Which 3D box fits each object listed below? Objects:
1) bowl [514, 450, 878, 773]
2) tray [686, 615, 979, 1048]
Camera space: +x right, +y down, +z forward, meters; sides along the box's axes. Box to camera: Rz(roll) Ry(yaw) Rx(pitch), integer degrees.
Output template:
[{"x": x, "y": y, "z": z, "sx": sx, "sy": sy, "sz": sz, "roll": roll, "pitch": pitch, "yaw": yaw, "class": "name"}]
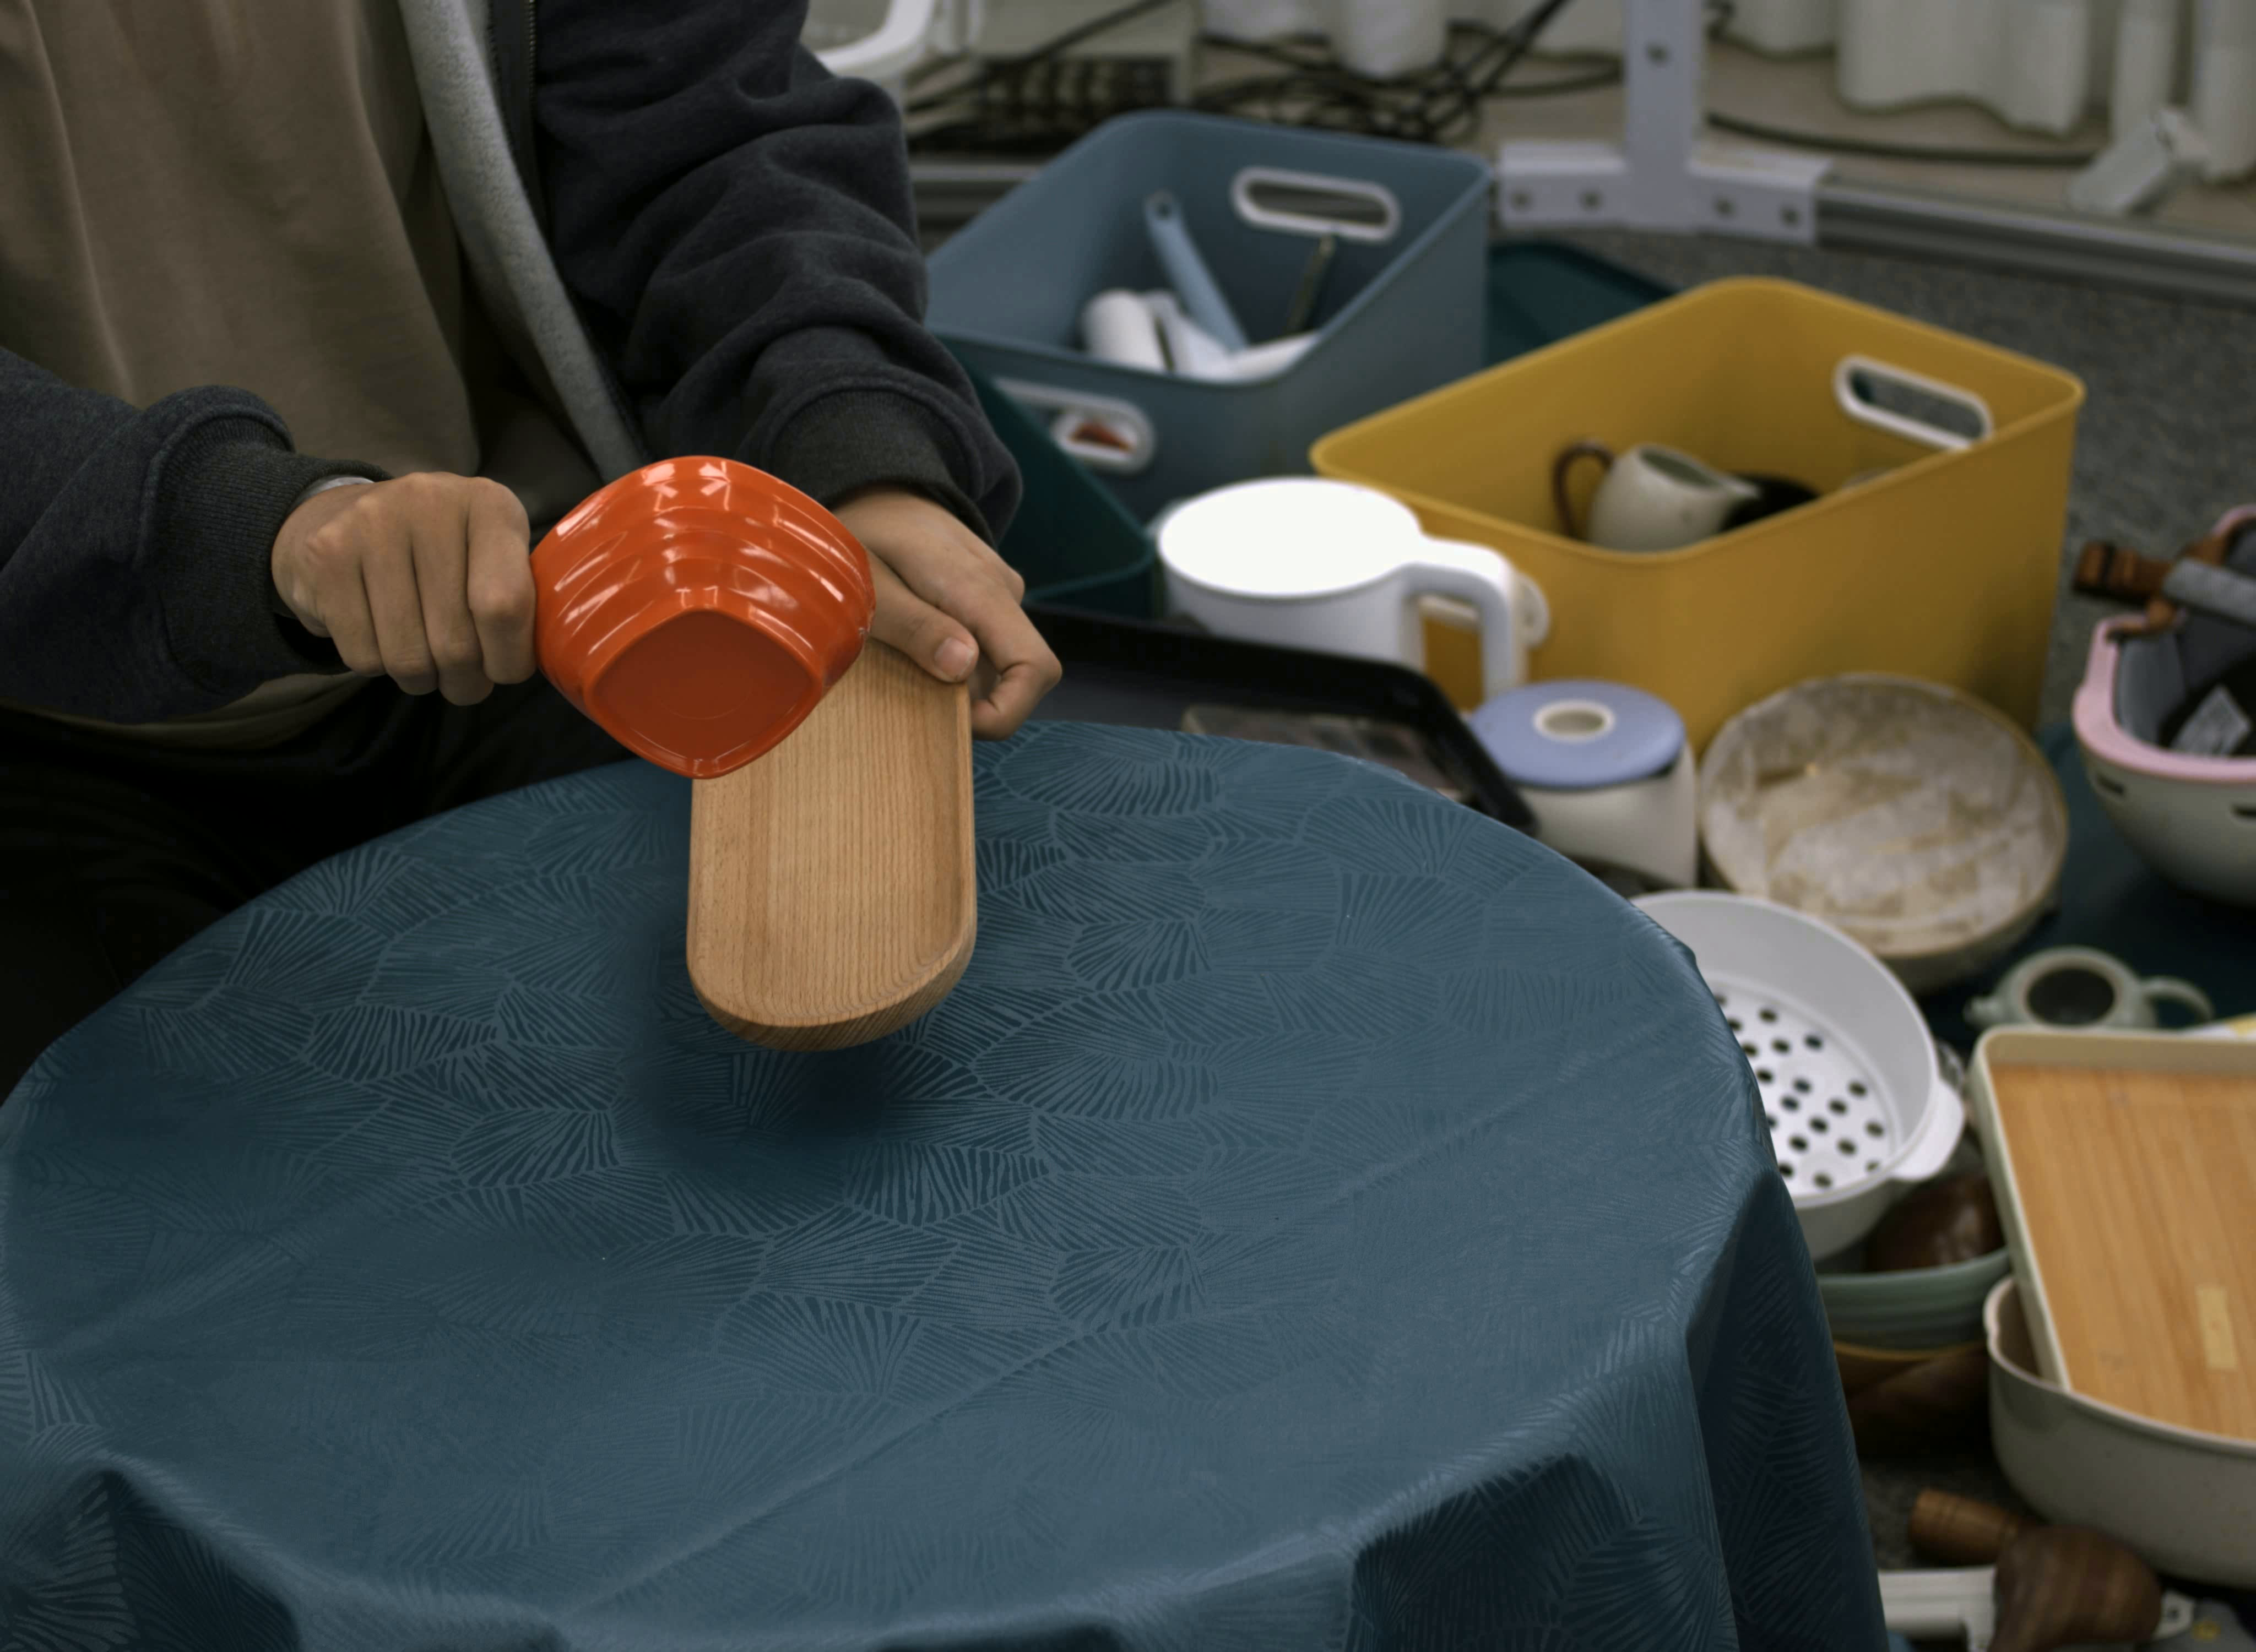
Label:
[{"x": -0.138, "y": -0.061, "z": 1.820, "sx": 0.118, "sy": 0.117, "sz": 0.052, "roll": -5, "pitch": 45, "yaw": -4, "class": "bowl"}, {"x": -0.104, "y": 0.000, "z": 1.967, "sx": 0.101, "sy": 0.020, "sz": 0.235, "roll": -9, "pitch": 36, "yaw": 2, "class": "tray"}]
